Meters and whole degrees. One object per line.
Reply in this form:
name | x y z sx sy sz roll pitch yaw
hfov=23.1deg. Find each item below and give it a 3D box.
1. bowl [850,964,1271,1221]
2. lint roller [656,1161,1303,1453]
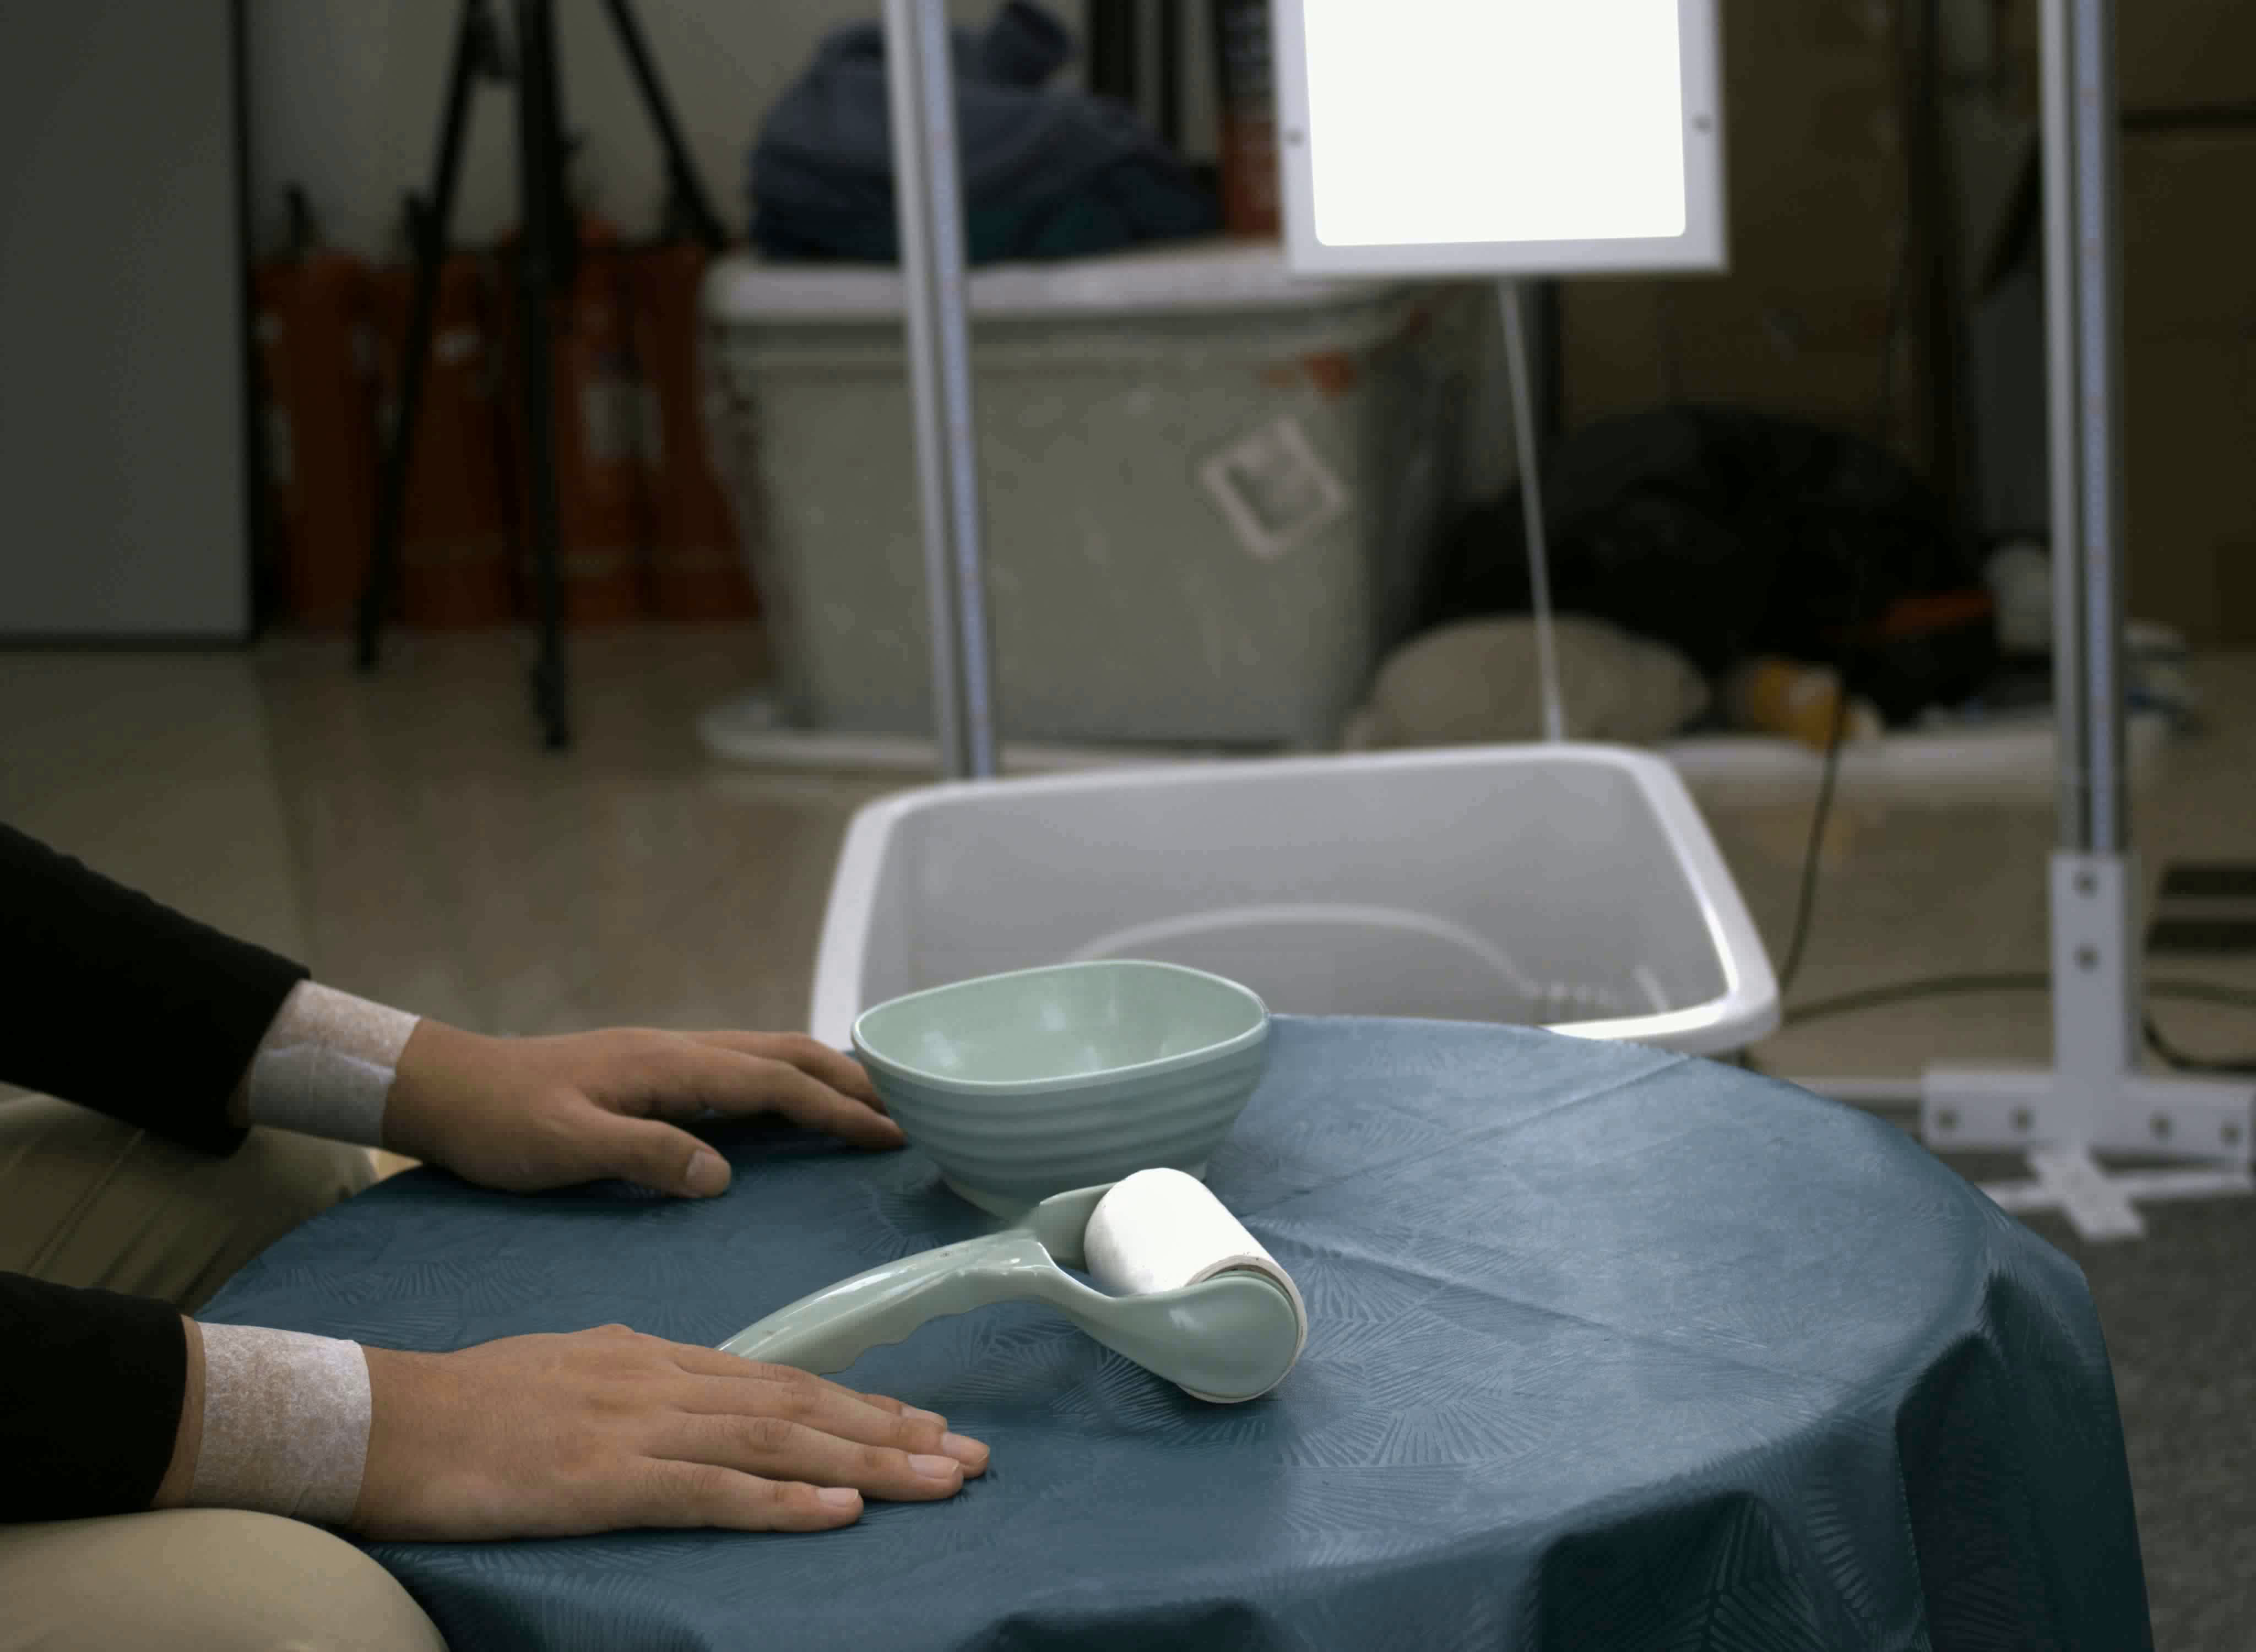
bowl | -0.023 0.095 1.916 0.151 0.059 0.151 -3 14 -1
lint roller | -0.053 0.153 1.718 0.195 0.049 0.117 -9 16 -11
